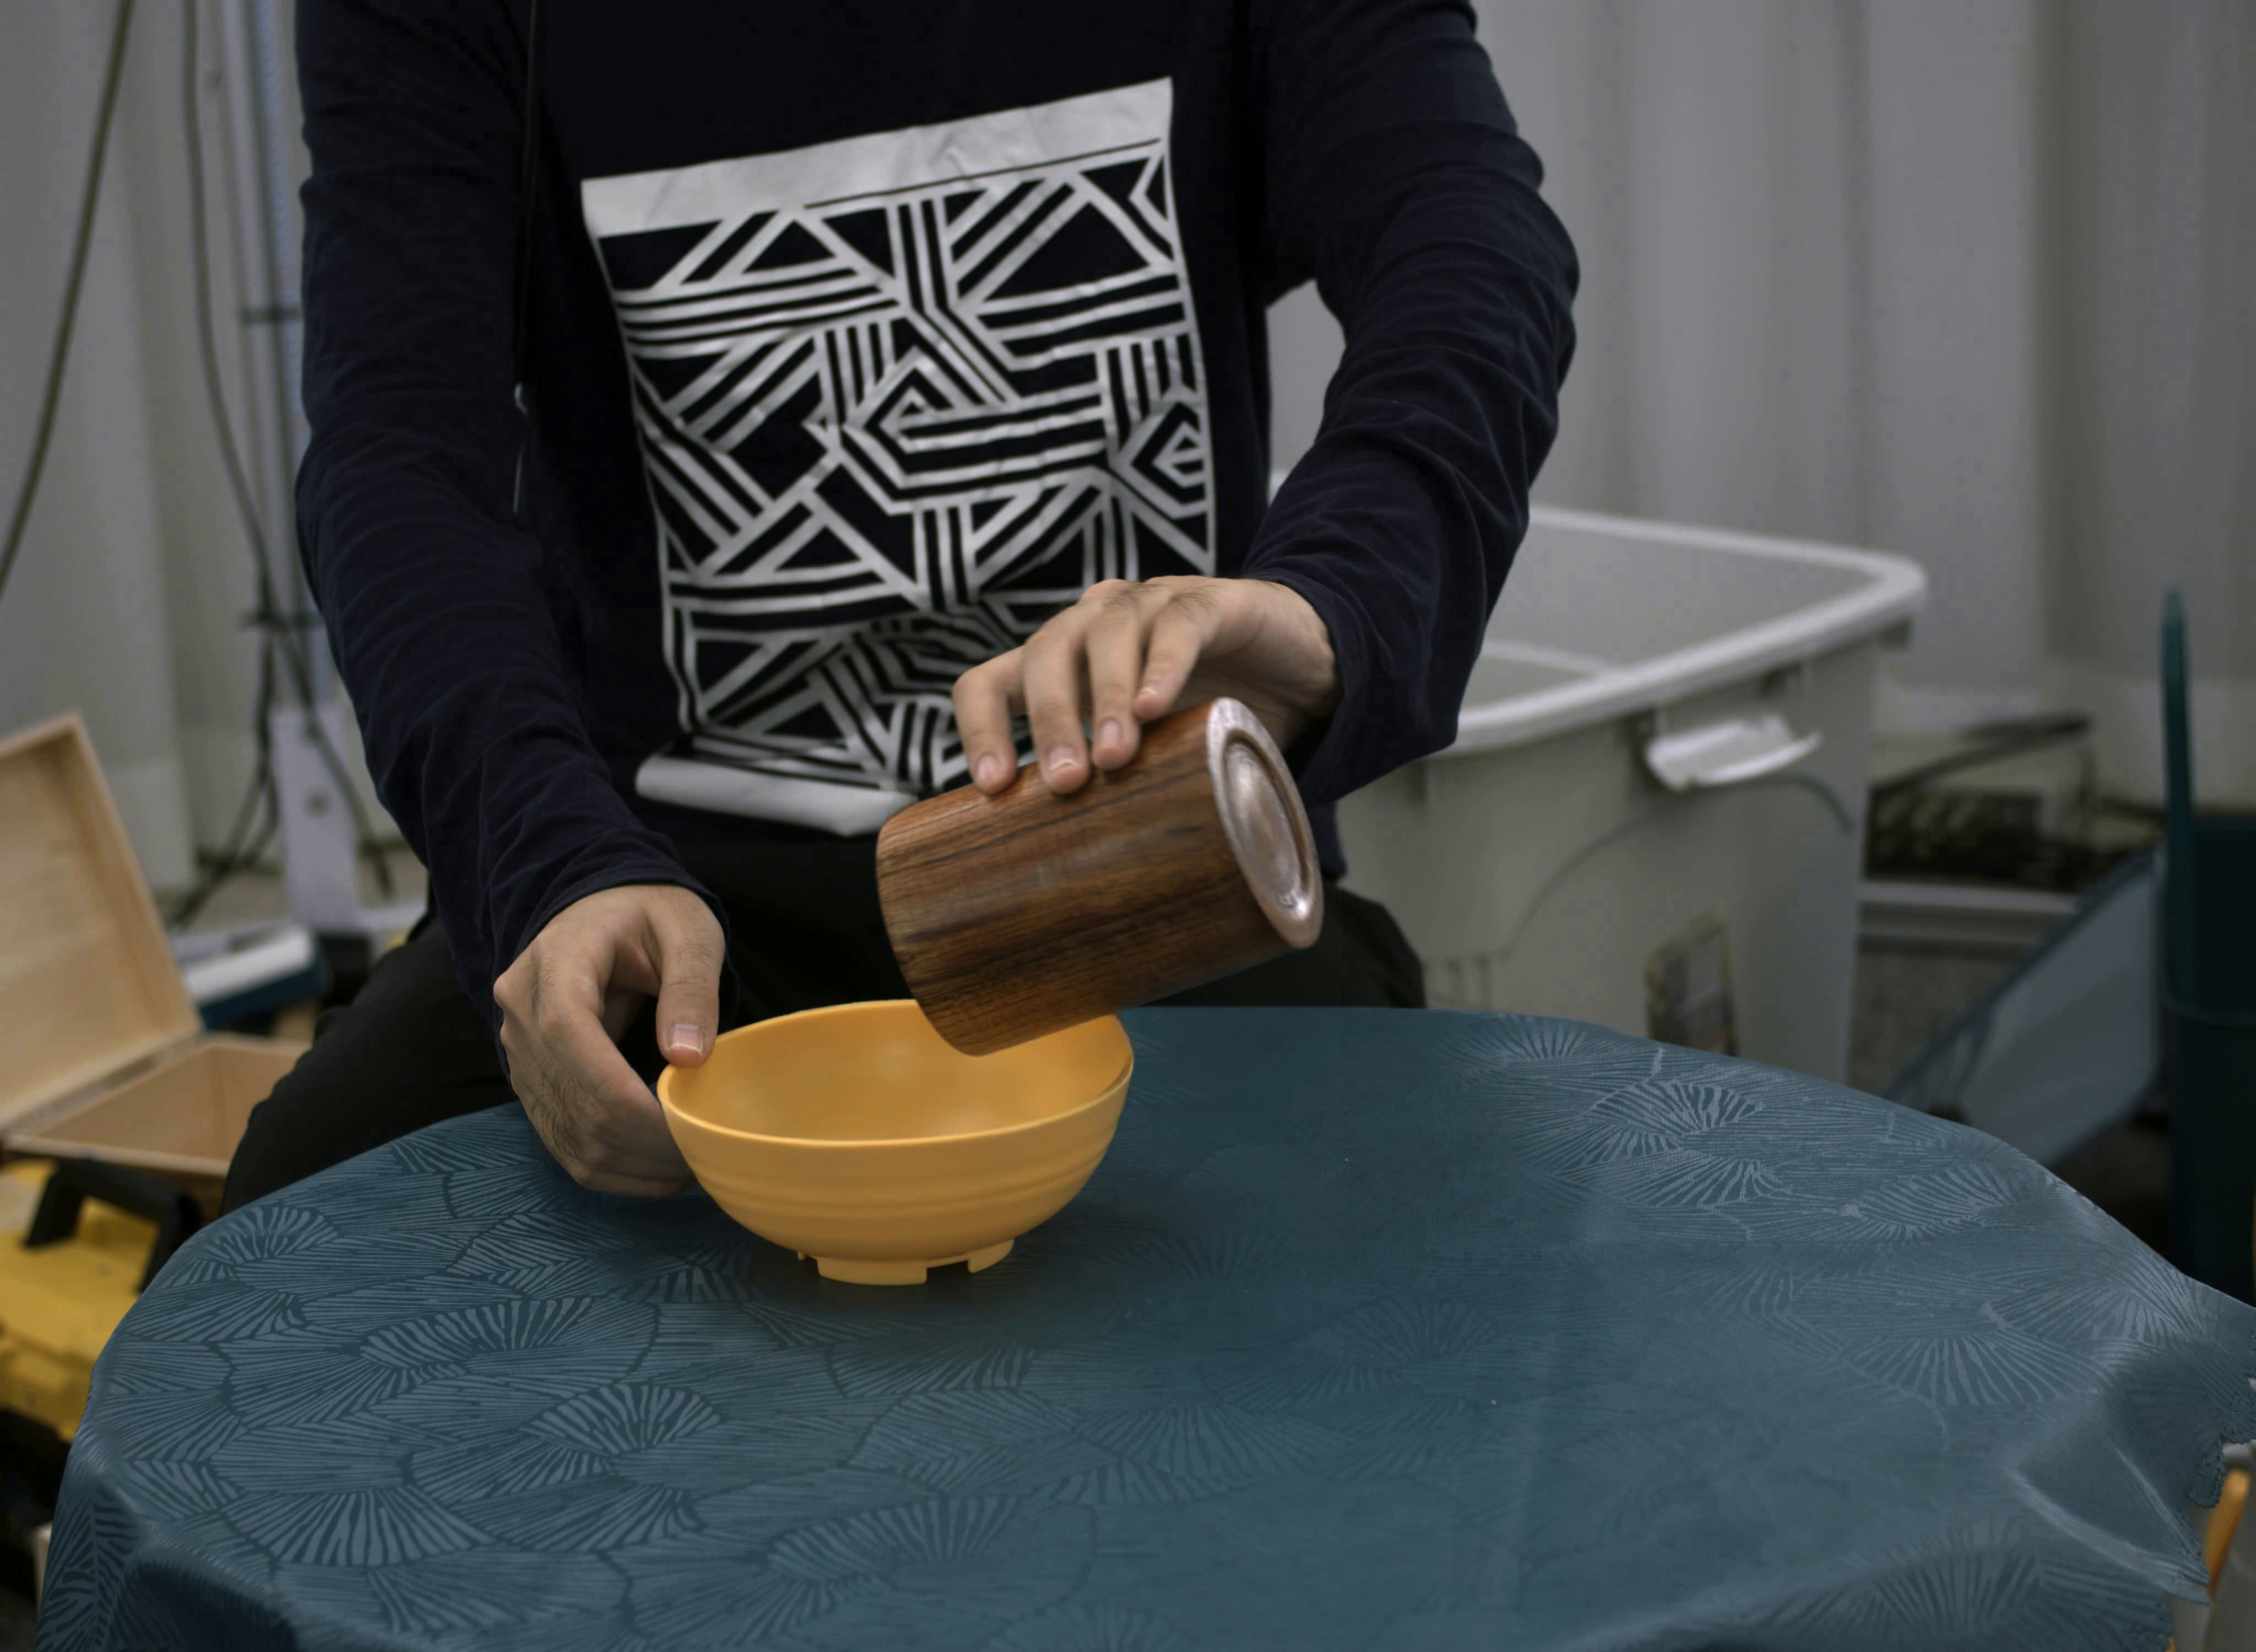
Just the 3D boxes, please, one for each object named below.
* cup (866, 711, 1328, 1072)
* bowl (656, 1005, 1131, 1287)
[{"bbox_3d":[-0.009,0.020,1.635,0.118,0.087,0.088,-15,10,20],"label":"cup"},{"bbox_3d":[-0.070,0.102,1.665,0.145,0.060,0.146,-2,14,0],"label":"bowl"}]
